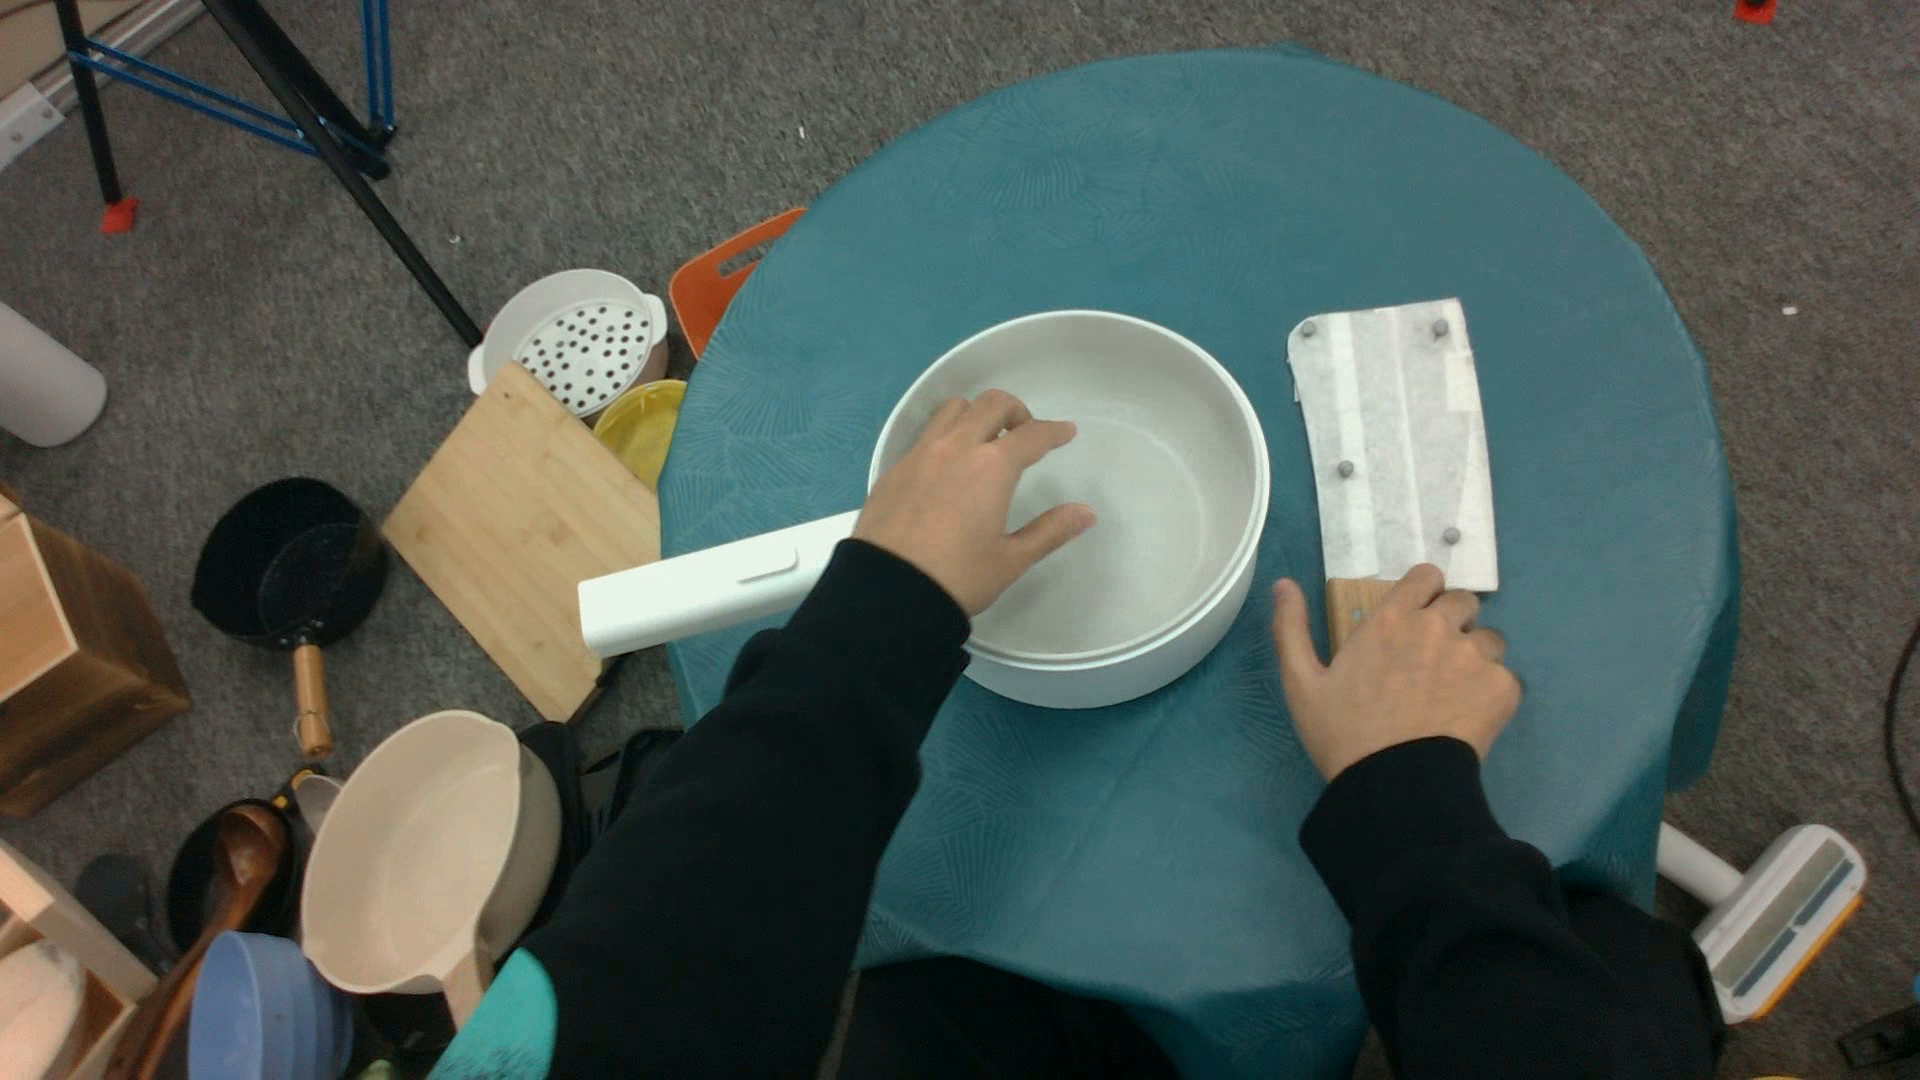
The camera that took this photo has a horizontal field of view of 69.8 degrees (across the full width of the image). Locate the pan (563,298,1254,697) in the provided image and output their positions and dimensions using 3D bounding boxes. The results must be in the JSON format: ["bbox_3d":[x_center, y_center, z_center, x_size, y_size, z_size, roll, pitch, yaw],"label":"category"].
[{"bbox_3d":[-0.023,0.003,0.729,0.354,0.102,0.202,-15,64,3],"label":"pan"}]

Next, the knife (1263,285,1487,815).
[{"bbox_3d":[0.221,-0.008,0.737,0.114,0.021,0.316,1,62,10],"label":"knife"}]
